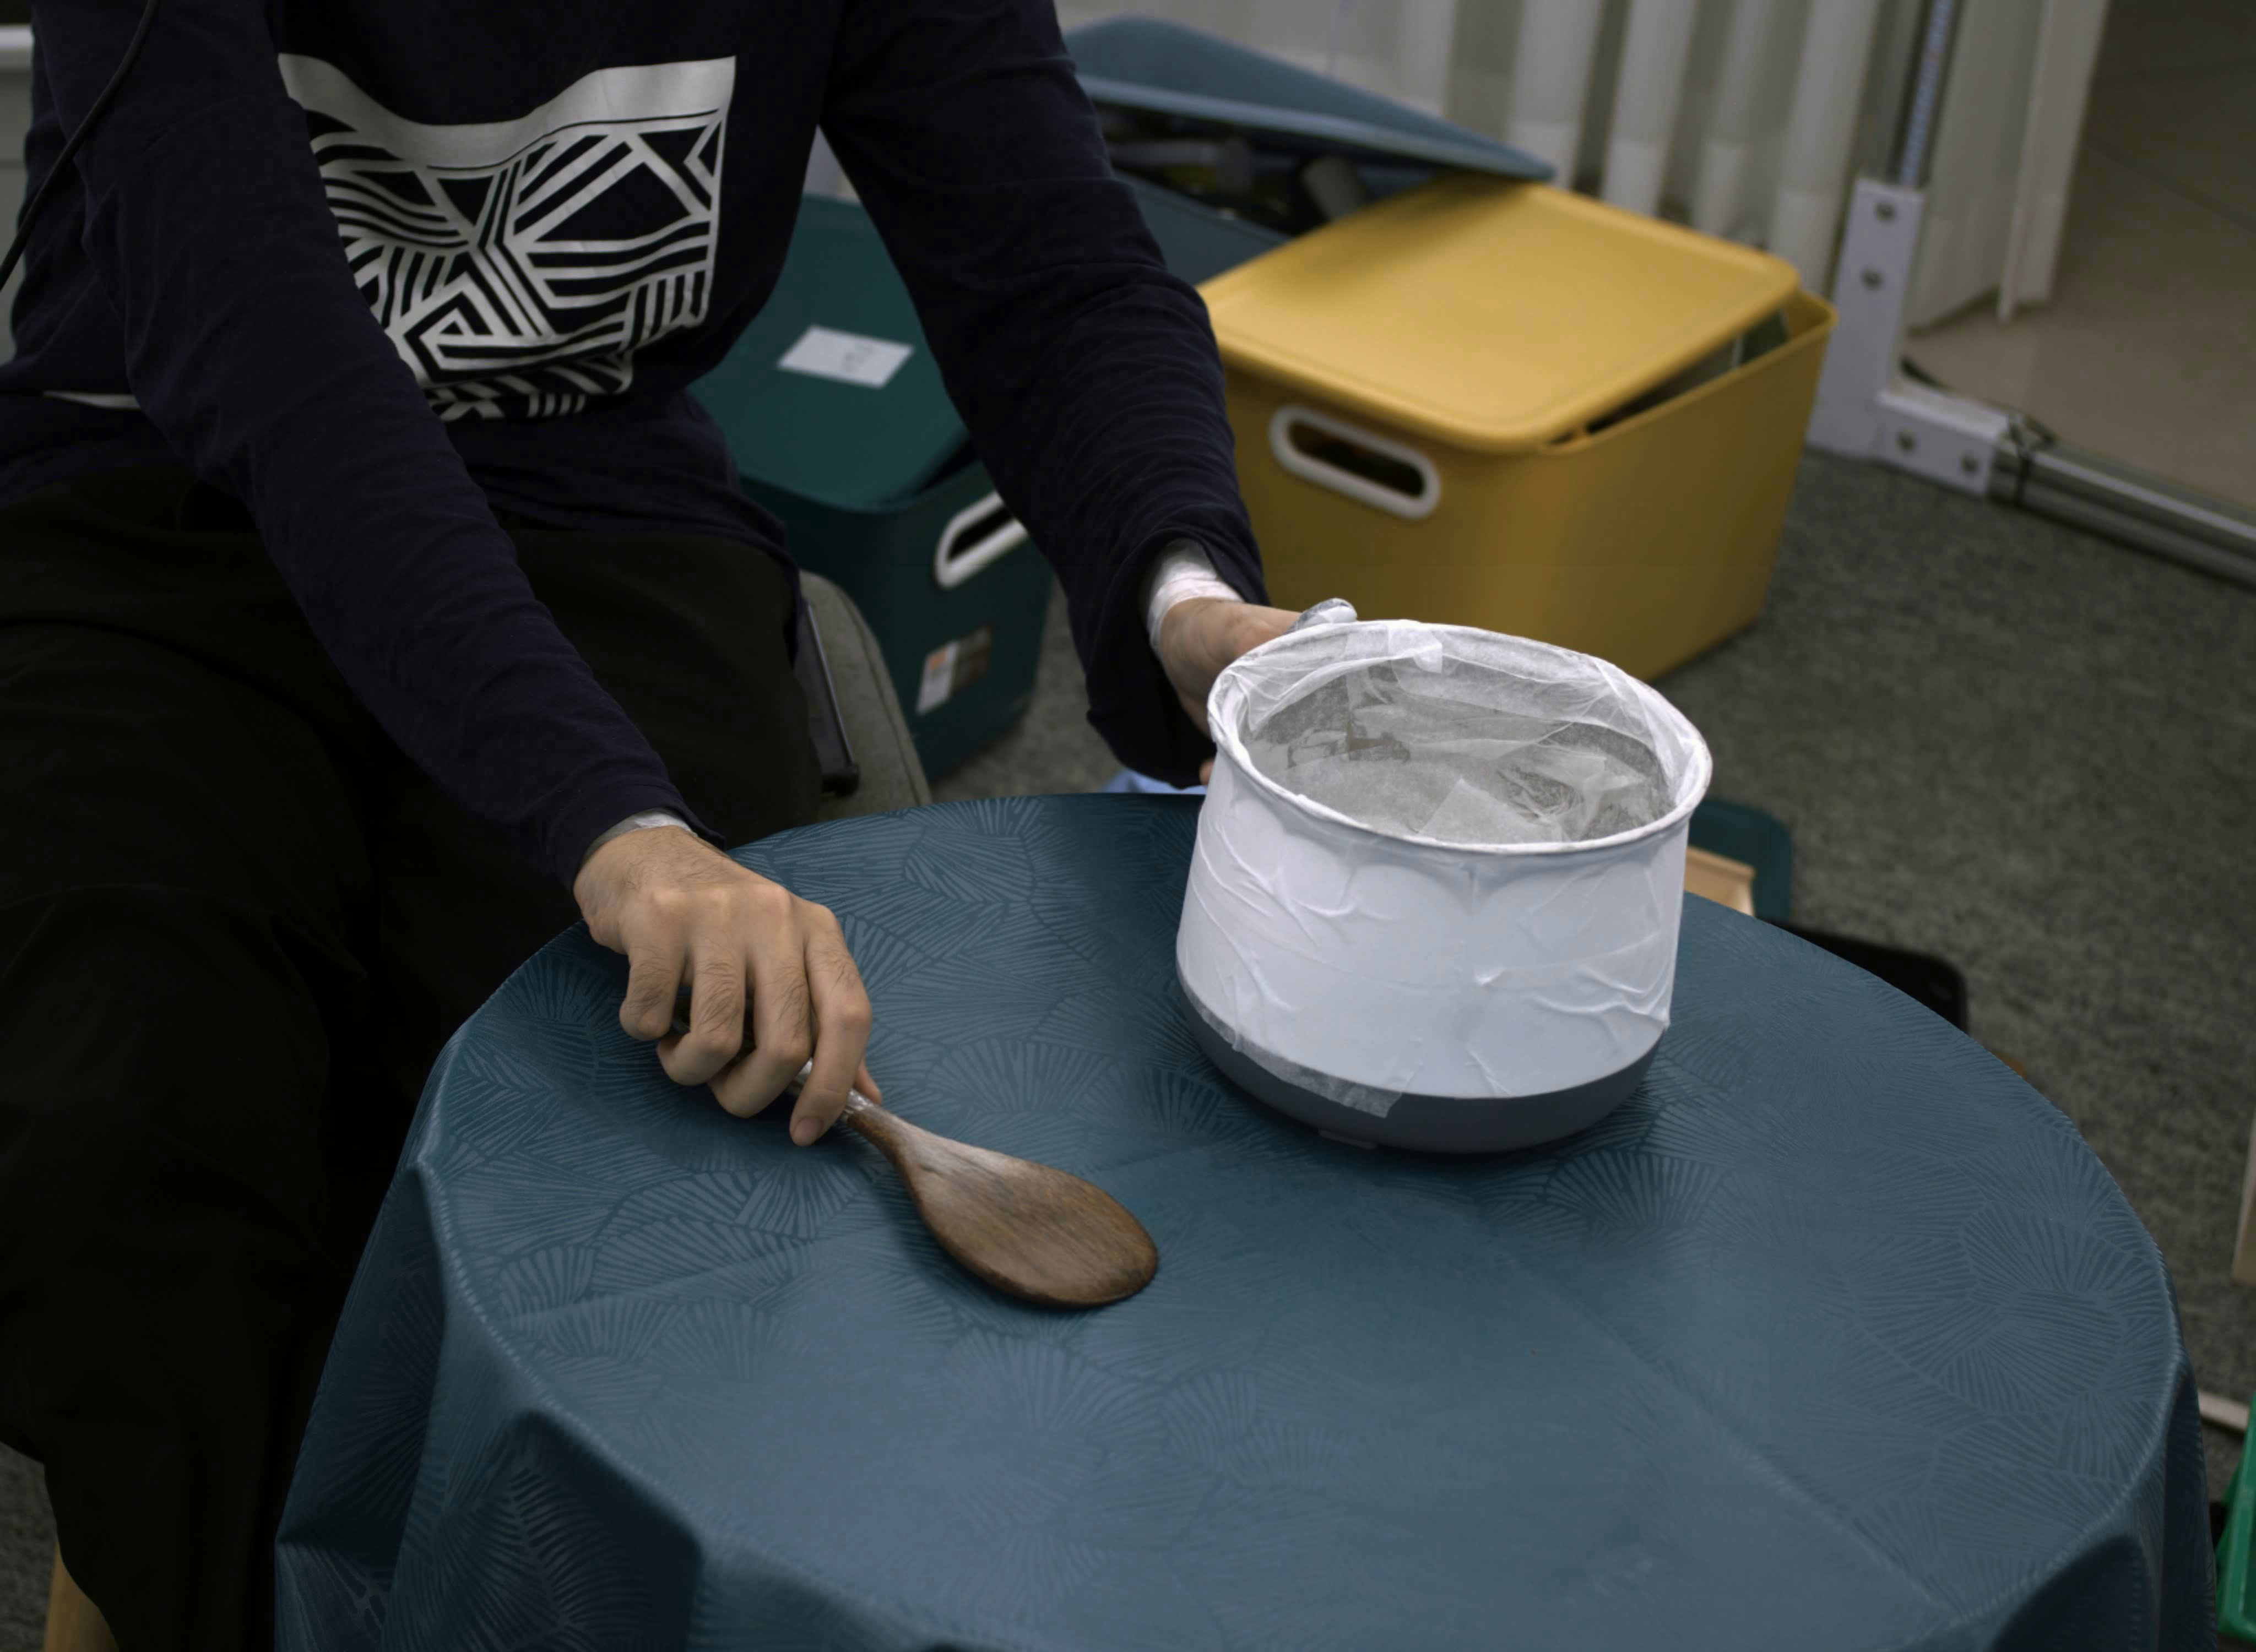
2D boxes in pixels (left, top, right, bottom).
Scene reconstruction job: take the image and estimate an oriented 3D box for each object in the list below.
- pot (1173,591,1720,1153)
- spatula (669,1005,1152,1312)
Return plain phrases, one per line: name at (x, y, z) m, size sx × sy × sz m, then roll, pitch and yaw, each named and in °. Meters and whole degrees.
pot at (0.097, 0.009, 1.898) m, size 0.177 × 0.136 × 0.236 m, roll -4°, pitch 30°, yaw -26°
spatula at (-0.078, 0.108, 1.801) m, size 0.217 × 0.009 × 0.071 m, roll 30°, pitch 30°, yaw 35°
